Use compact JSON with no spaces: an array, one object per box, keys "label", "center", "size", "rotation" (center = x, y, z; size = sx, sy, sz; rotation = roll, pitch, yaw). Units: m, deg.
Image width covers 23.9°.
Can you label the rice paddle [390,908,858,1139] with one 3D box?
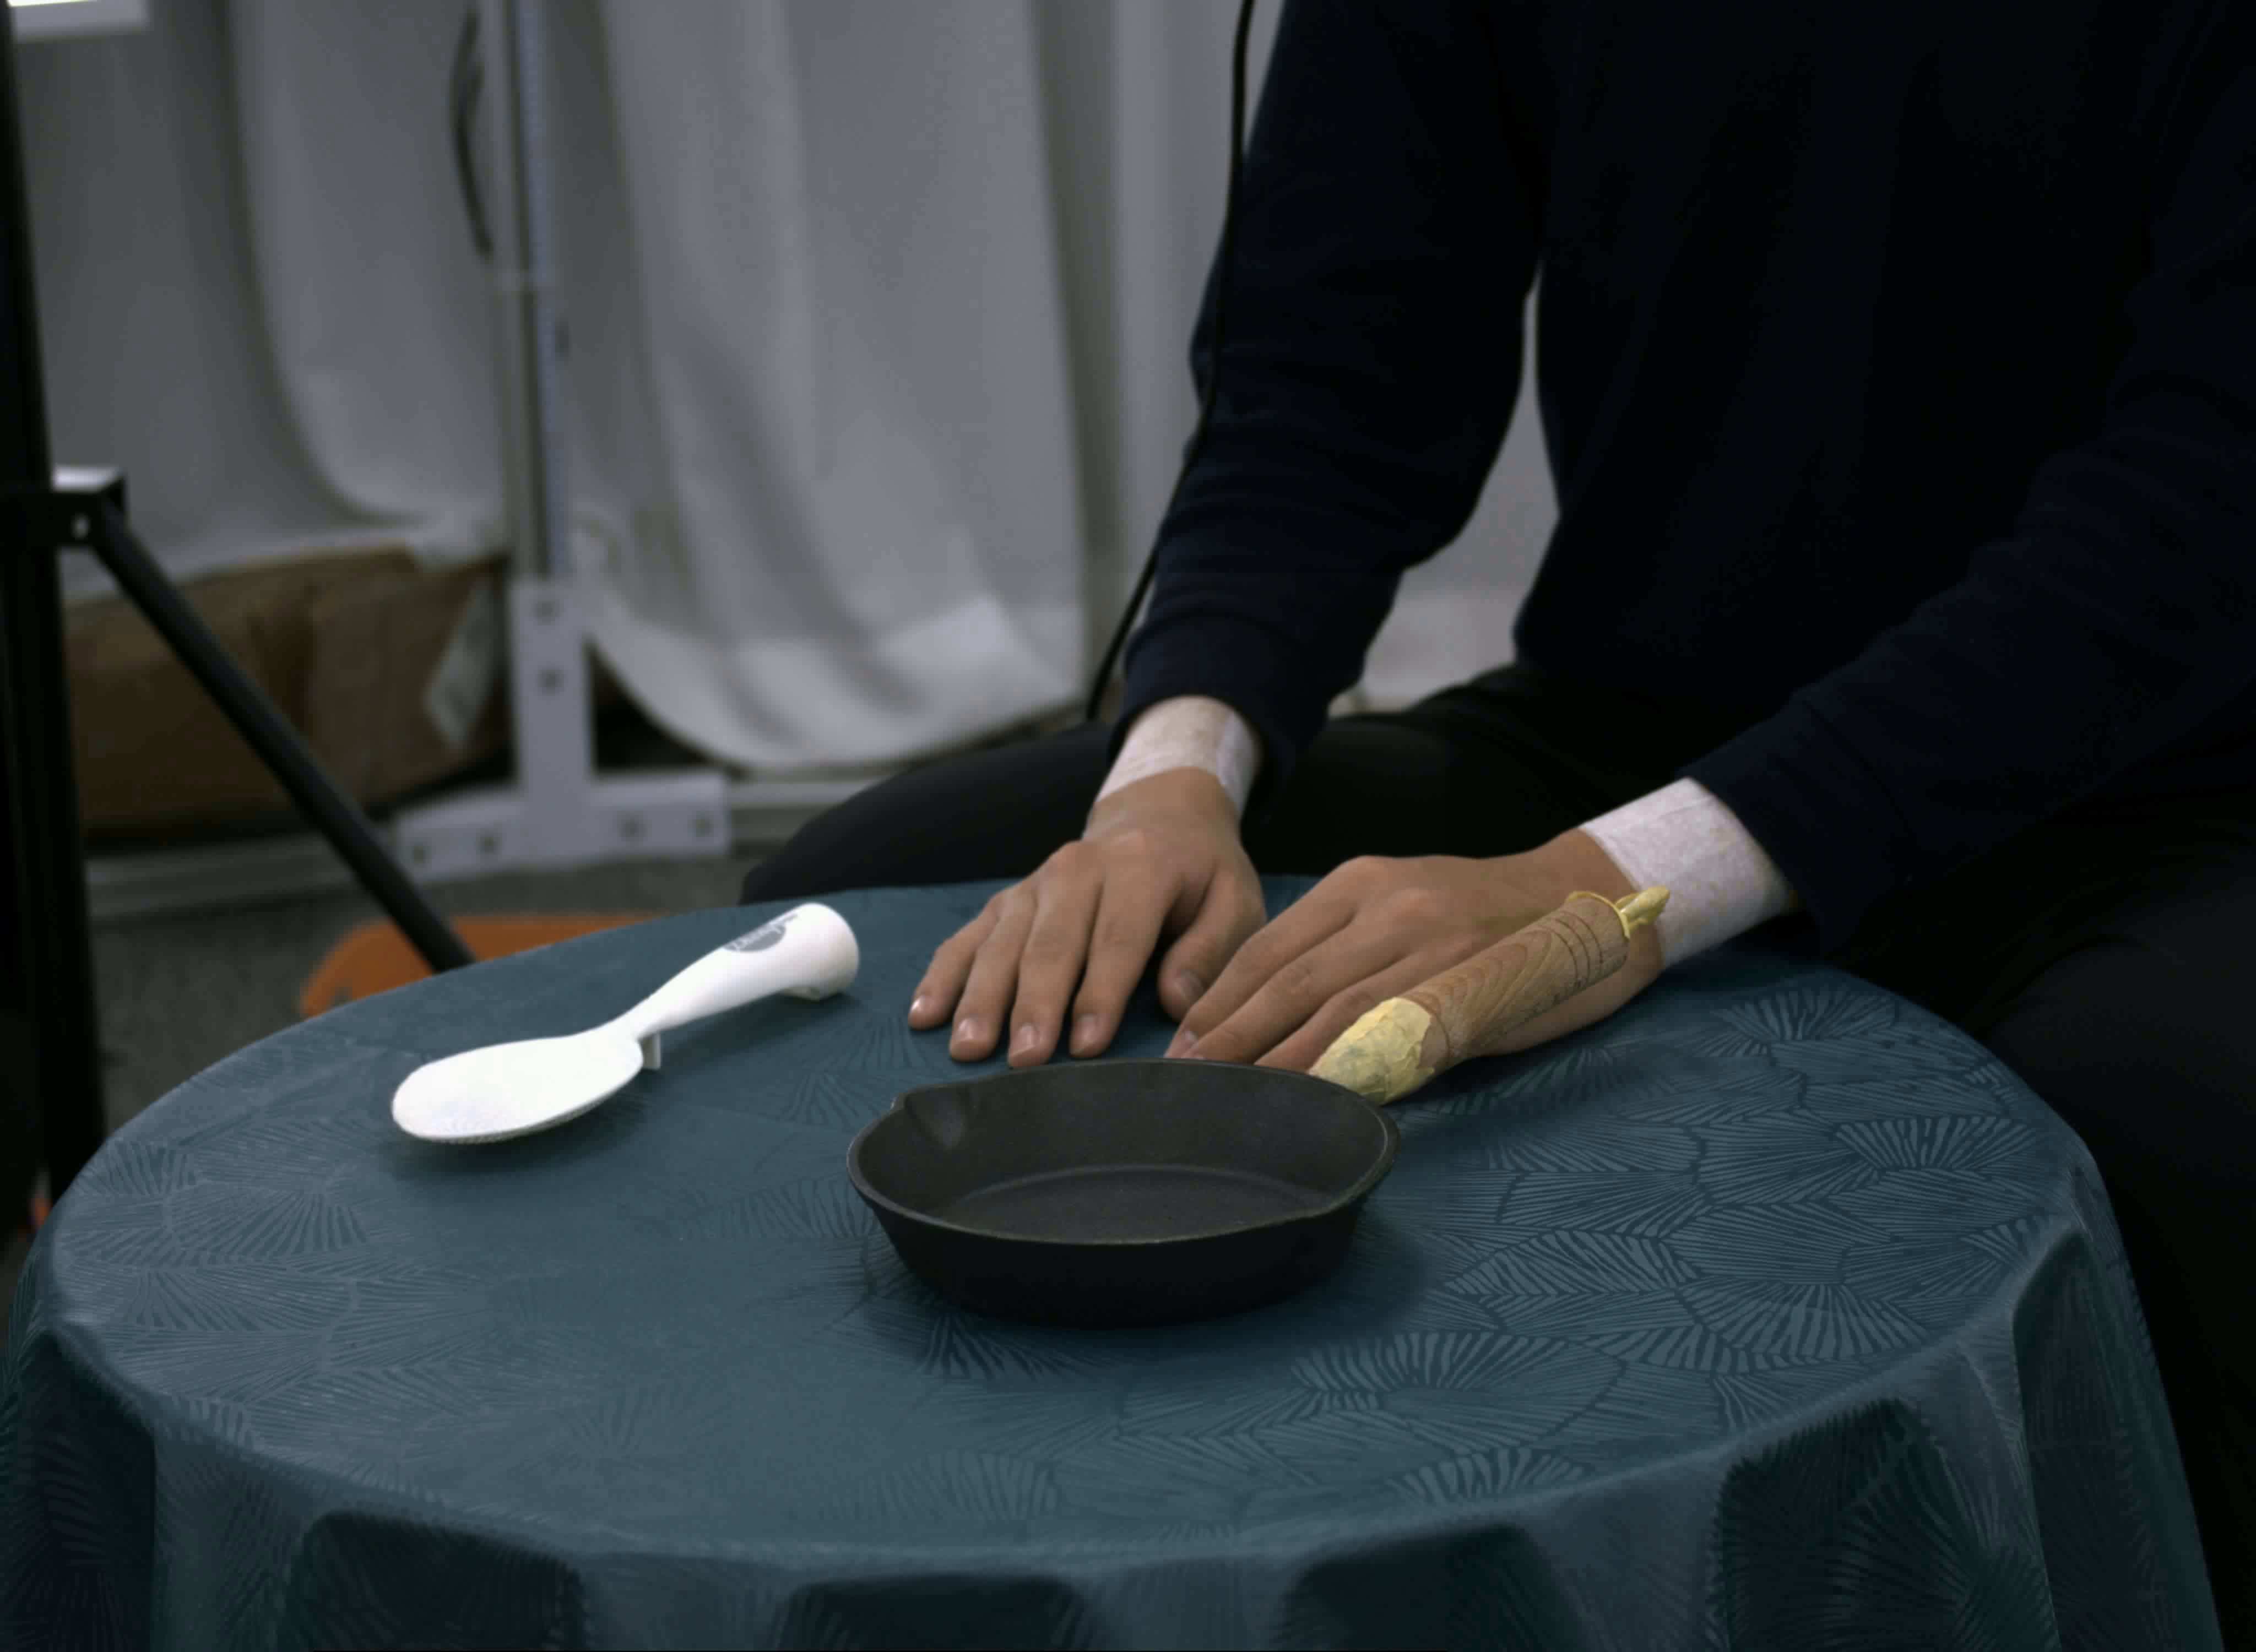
[{"label":"rice paddle","center":[-0.156,0.065,1.683],"size":[0.070,0.029,0.201],"rotation":[6,17,34]}]

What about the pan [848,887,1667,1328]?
[{"label":"pan","center":[0.057,0.079,1.559],"size":[0.317,0.049,0.173],"rotation":[-19,22,-42]}]
